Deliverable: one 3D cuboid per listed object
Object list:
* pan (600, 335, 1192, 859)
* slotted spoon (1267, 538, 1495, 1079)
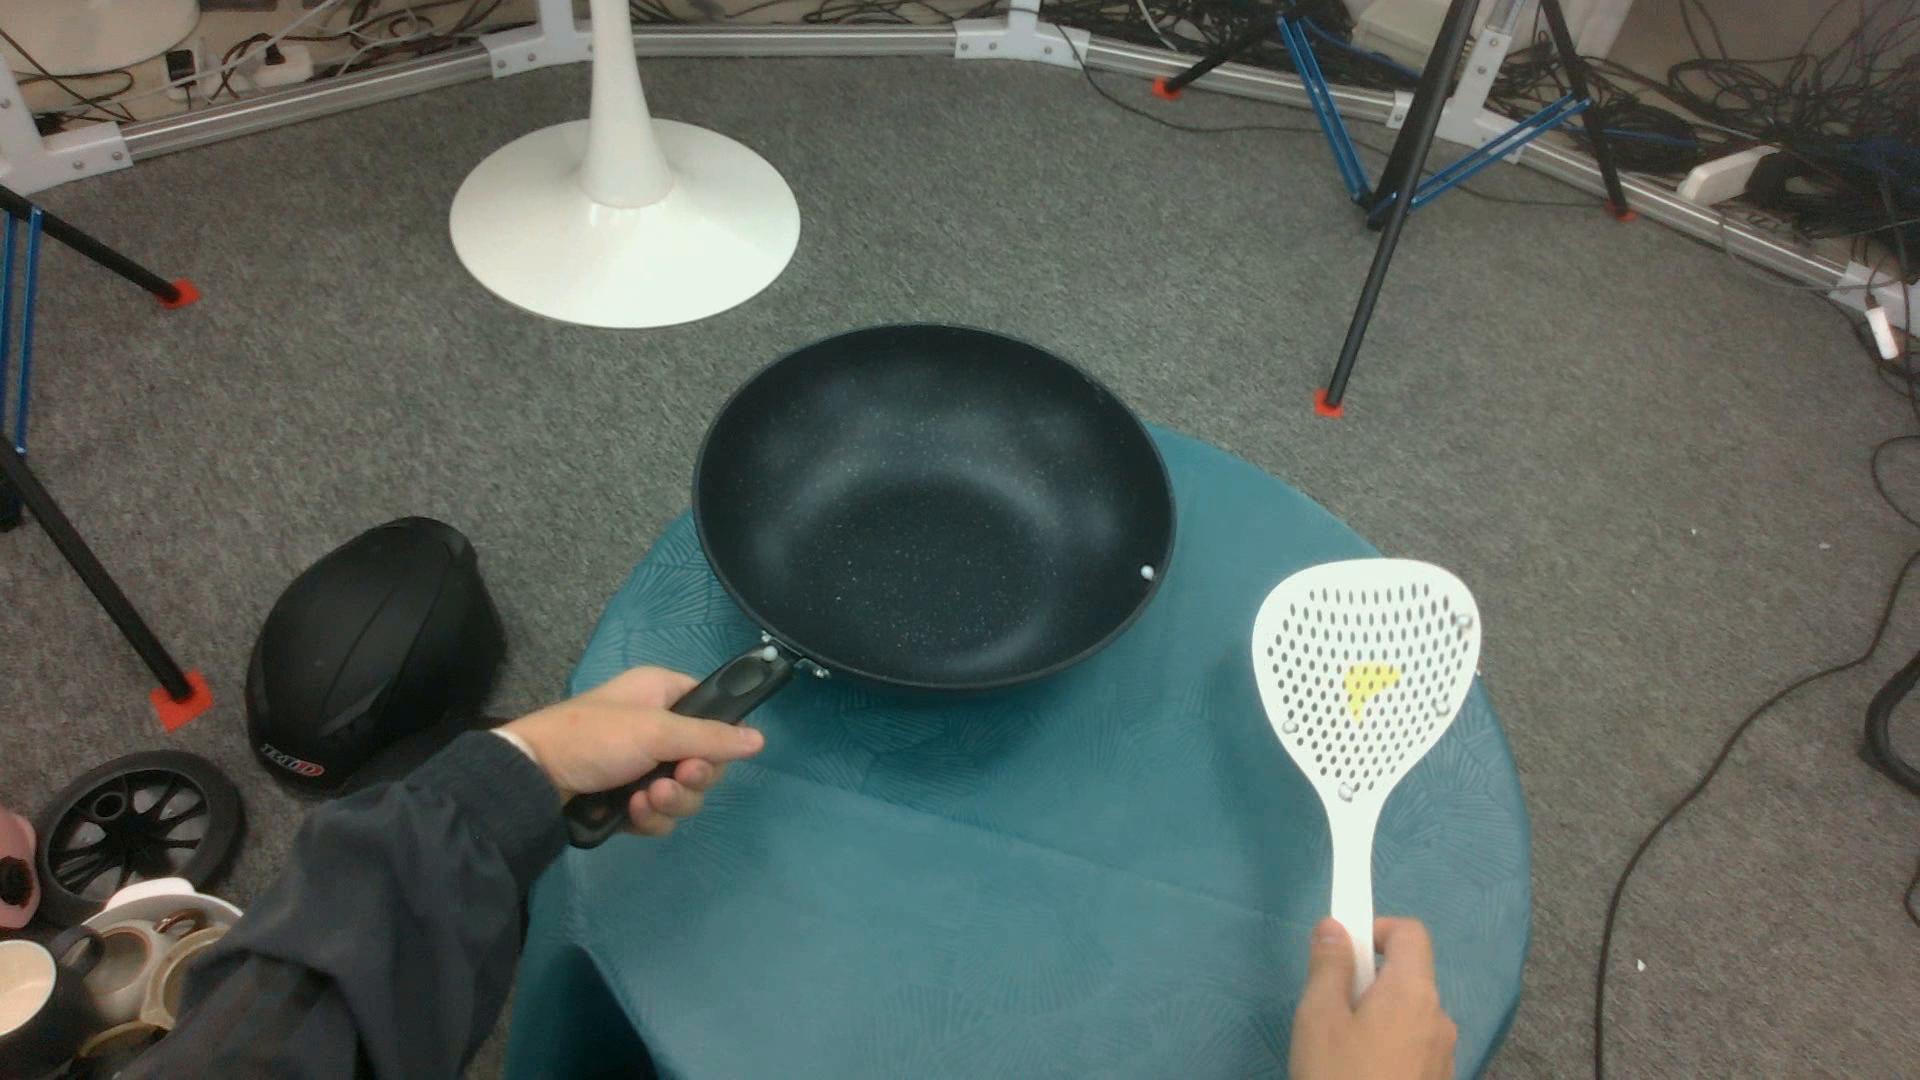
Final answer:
[{"bbox_3d":[-0.049,0.040,0.867,0.310,0.111,0.479,26,52,19],"label":"pan"},{"bbox_3d":[0.243,0.146,0.789,0.136,0.050,0.349,-7,46,24],"label":"slotted spoon"}]
